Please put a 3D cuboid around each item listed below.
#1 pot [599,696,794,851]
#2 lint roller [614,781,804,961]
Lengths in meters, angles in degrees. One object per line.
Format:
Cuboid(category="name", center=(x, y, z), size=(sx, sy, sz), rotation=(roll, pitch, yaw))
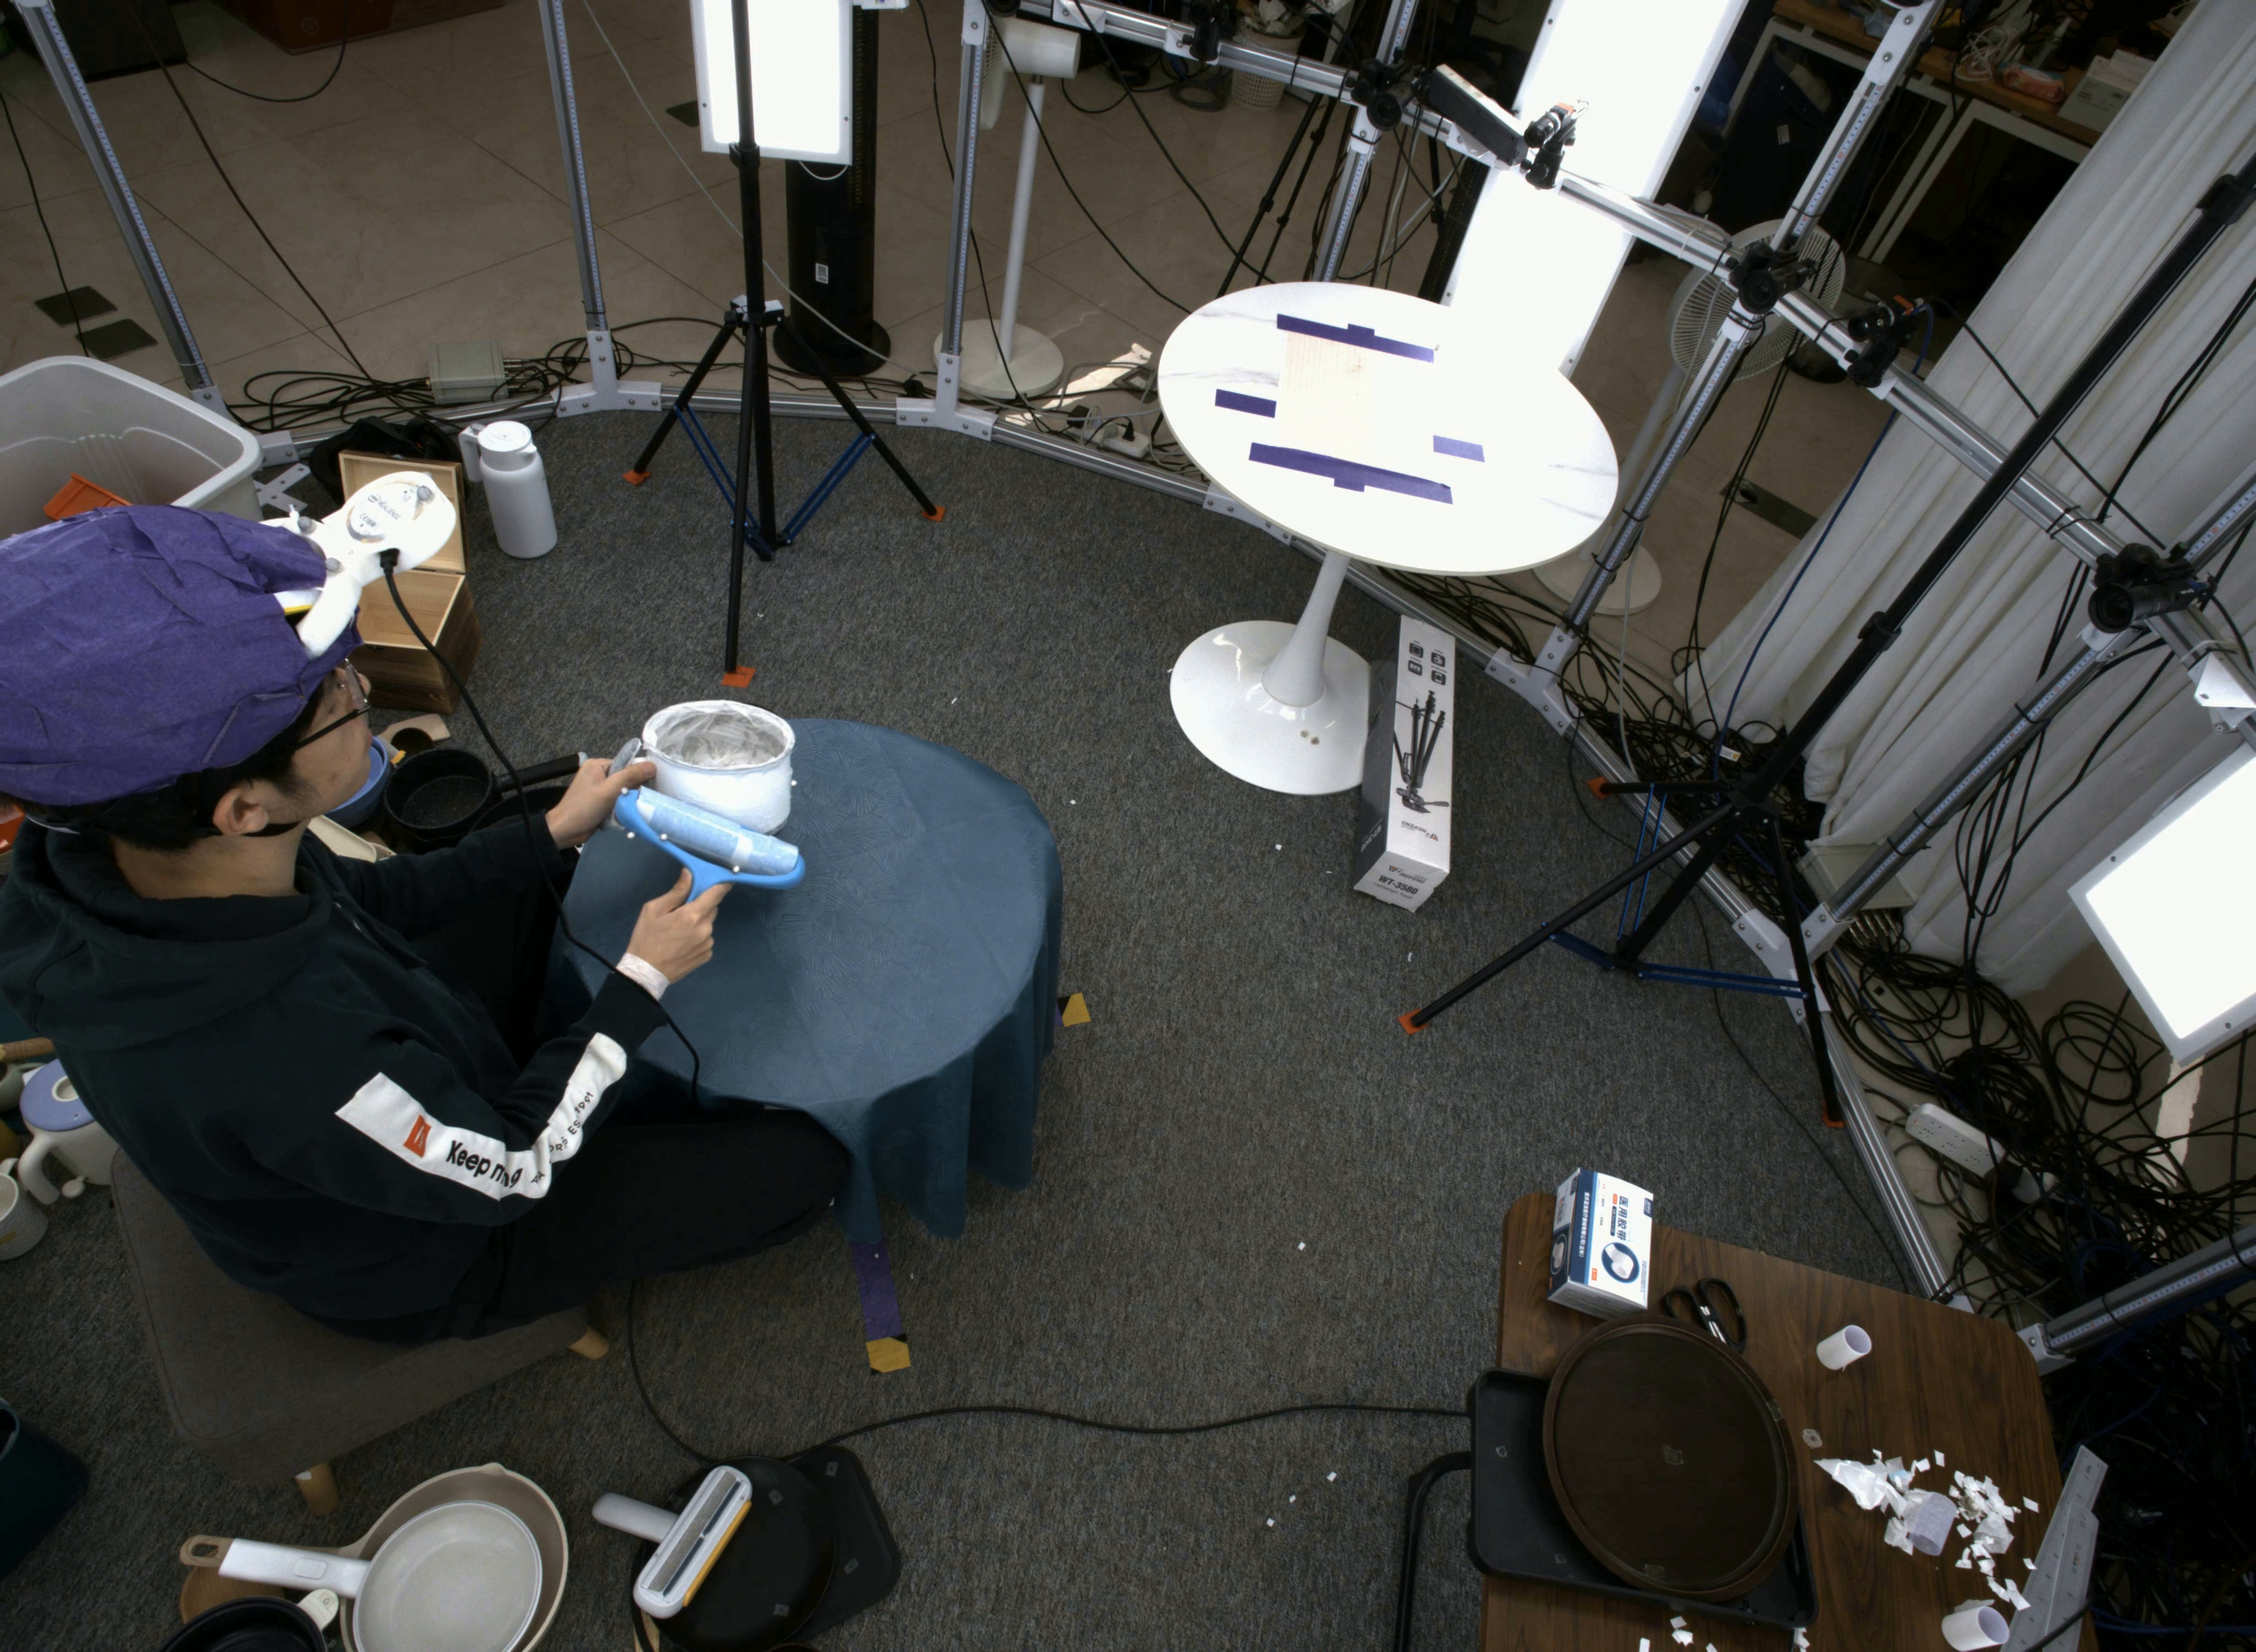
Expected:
Cuboid(category="pot", center=(-0.524, -0.058, 1.556), size=(0.237, 0.140, 0.172), rotation=(-9, 36, -36))
Cuboid(category="lint roller", center=(-0.485, 0.058, 1.463), size=(0.235, 0.067, 0.178), rotation=(22, 59, -32))
